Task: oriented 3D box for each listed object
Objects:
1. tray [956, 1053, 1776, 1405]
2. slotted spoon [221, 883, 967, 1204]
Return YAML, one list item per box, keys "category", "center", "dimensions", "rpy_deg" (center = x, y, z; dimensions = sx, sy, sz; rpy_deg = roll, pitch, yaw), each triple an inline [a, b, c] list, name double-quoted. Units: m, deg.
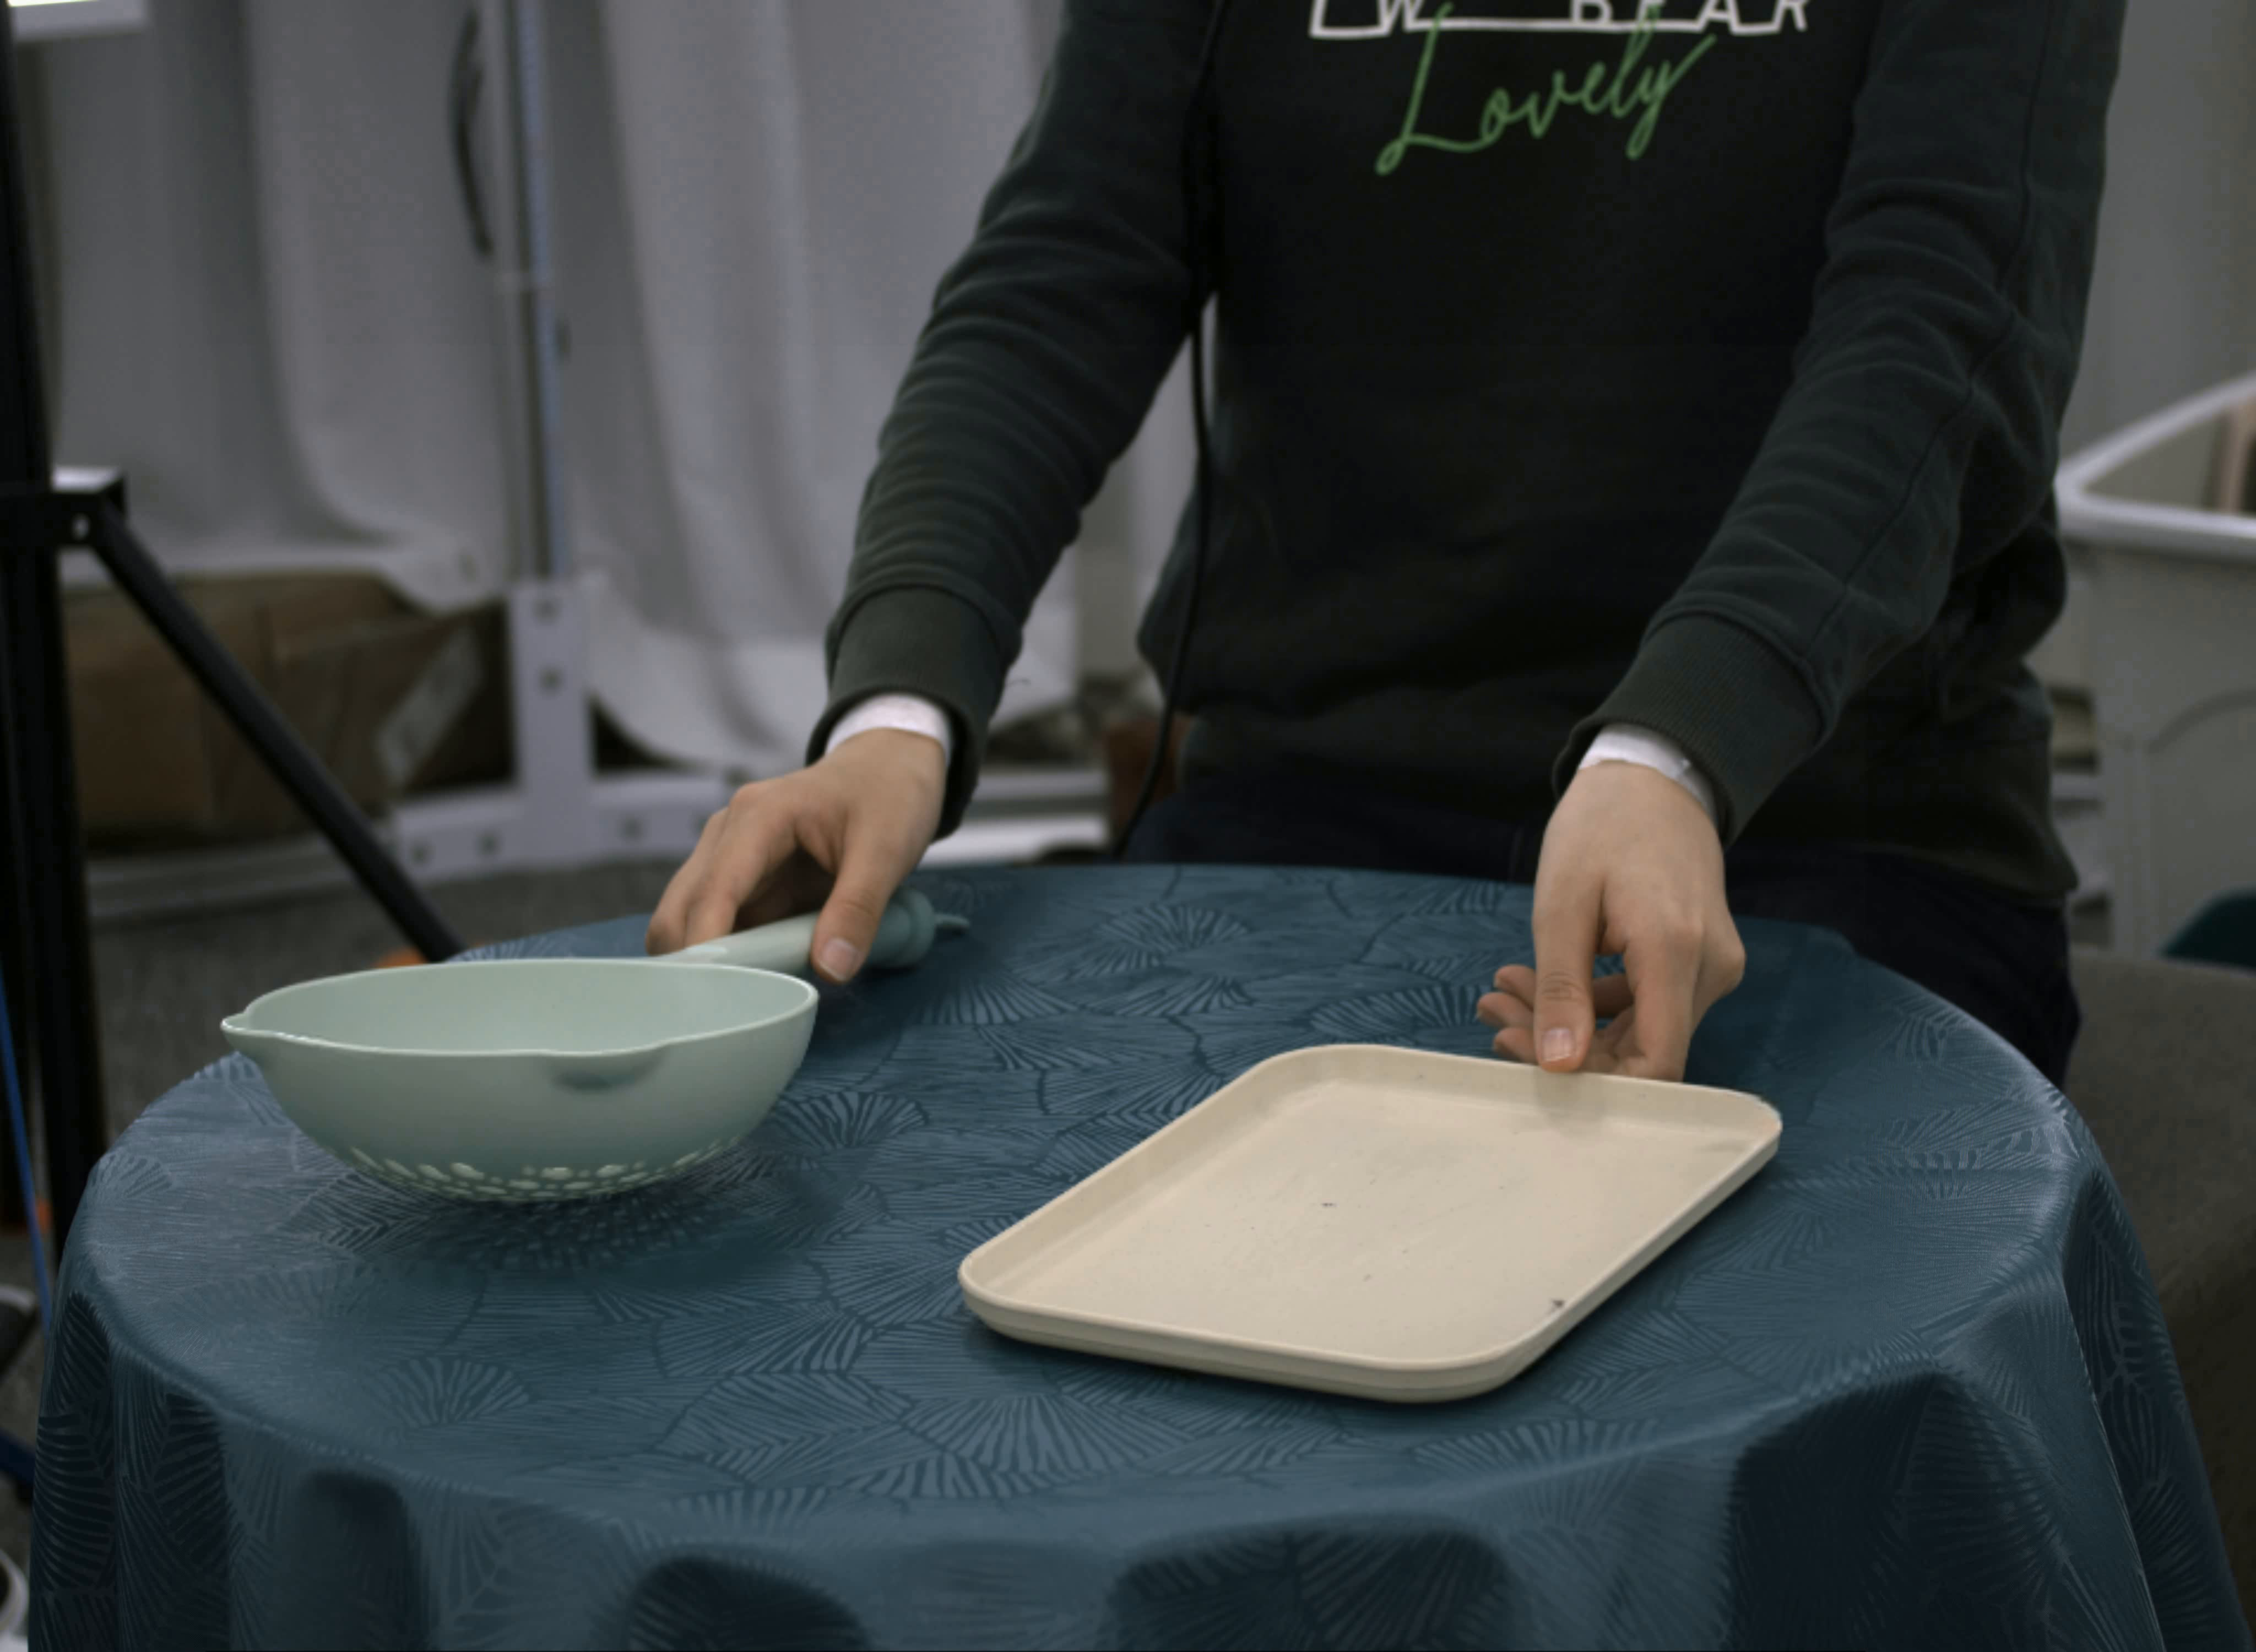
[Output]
- category: "tray"
  center: [0.071, 0.112, 1.501]
  dimensions: [0.174, 0.017, 0.235]
  rpy_deg: [6, 17, 28]
- category: "slotted spoon"
  center: [-0.135, 0.052, 1.660]
  dimensions: [0.172, 0.075, 0.353]
  rpy_deg: [3, 17, 25]
